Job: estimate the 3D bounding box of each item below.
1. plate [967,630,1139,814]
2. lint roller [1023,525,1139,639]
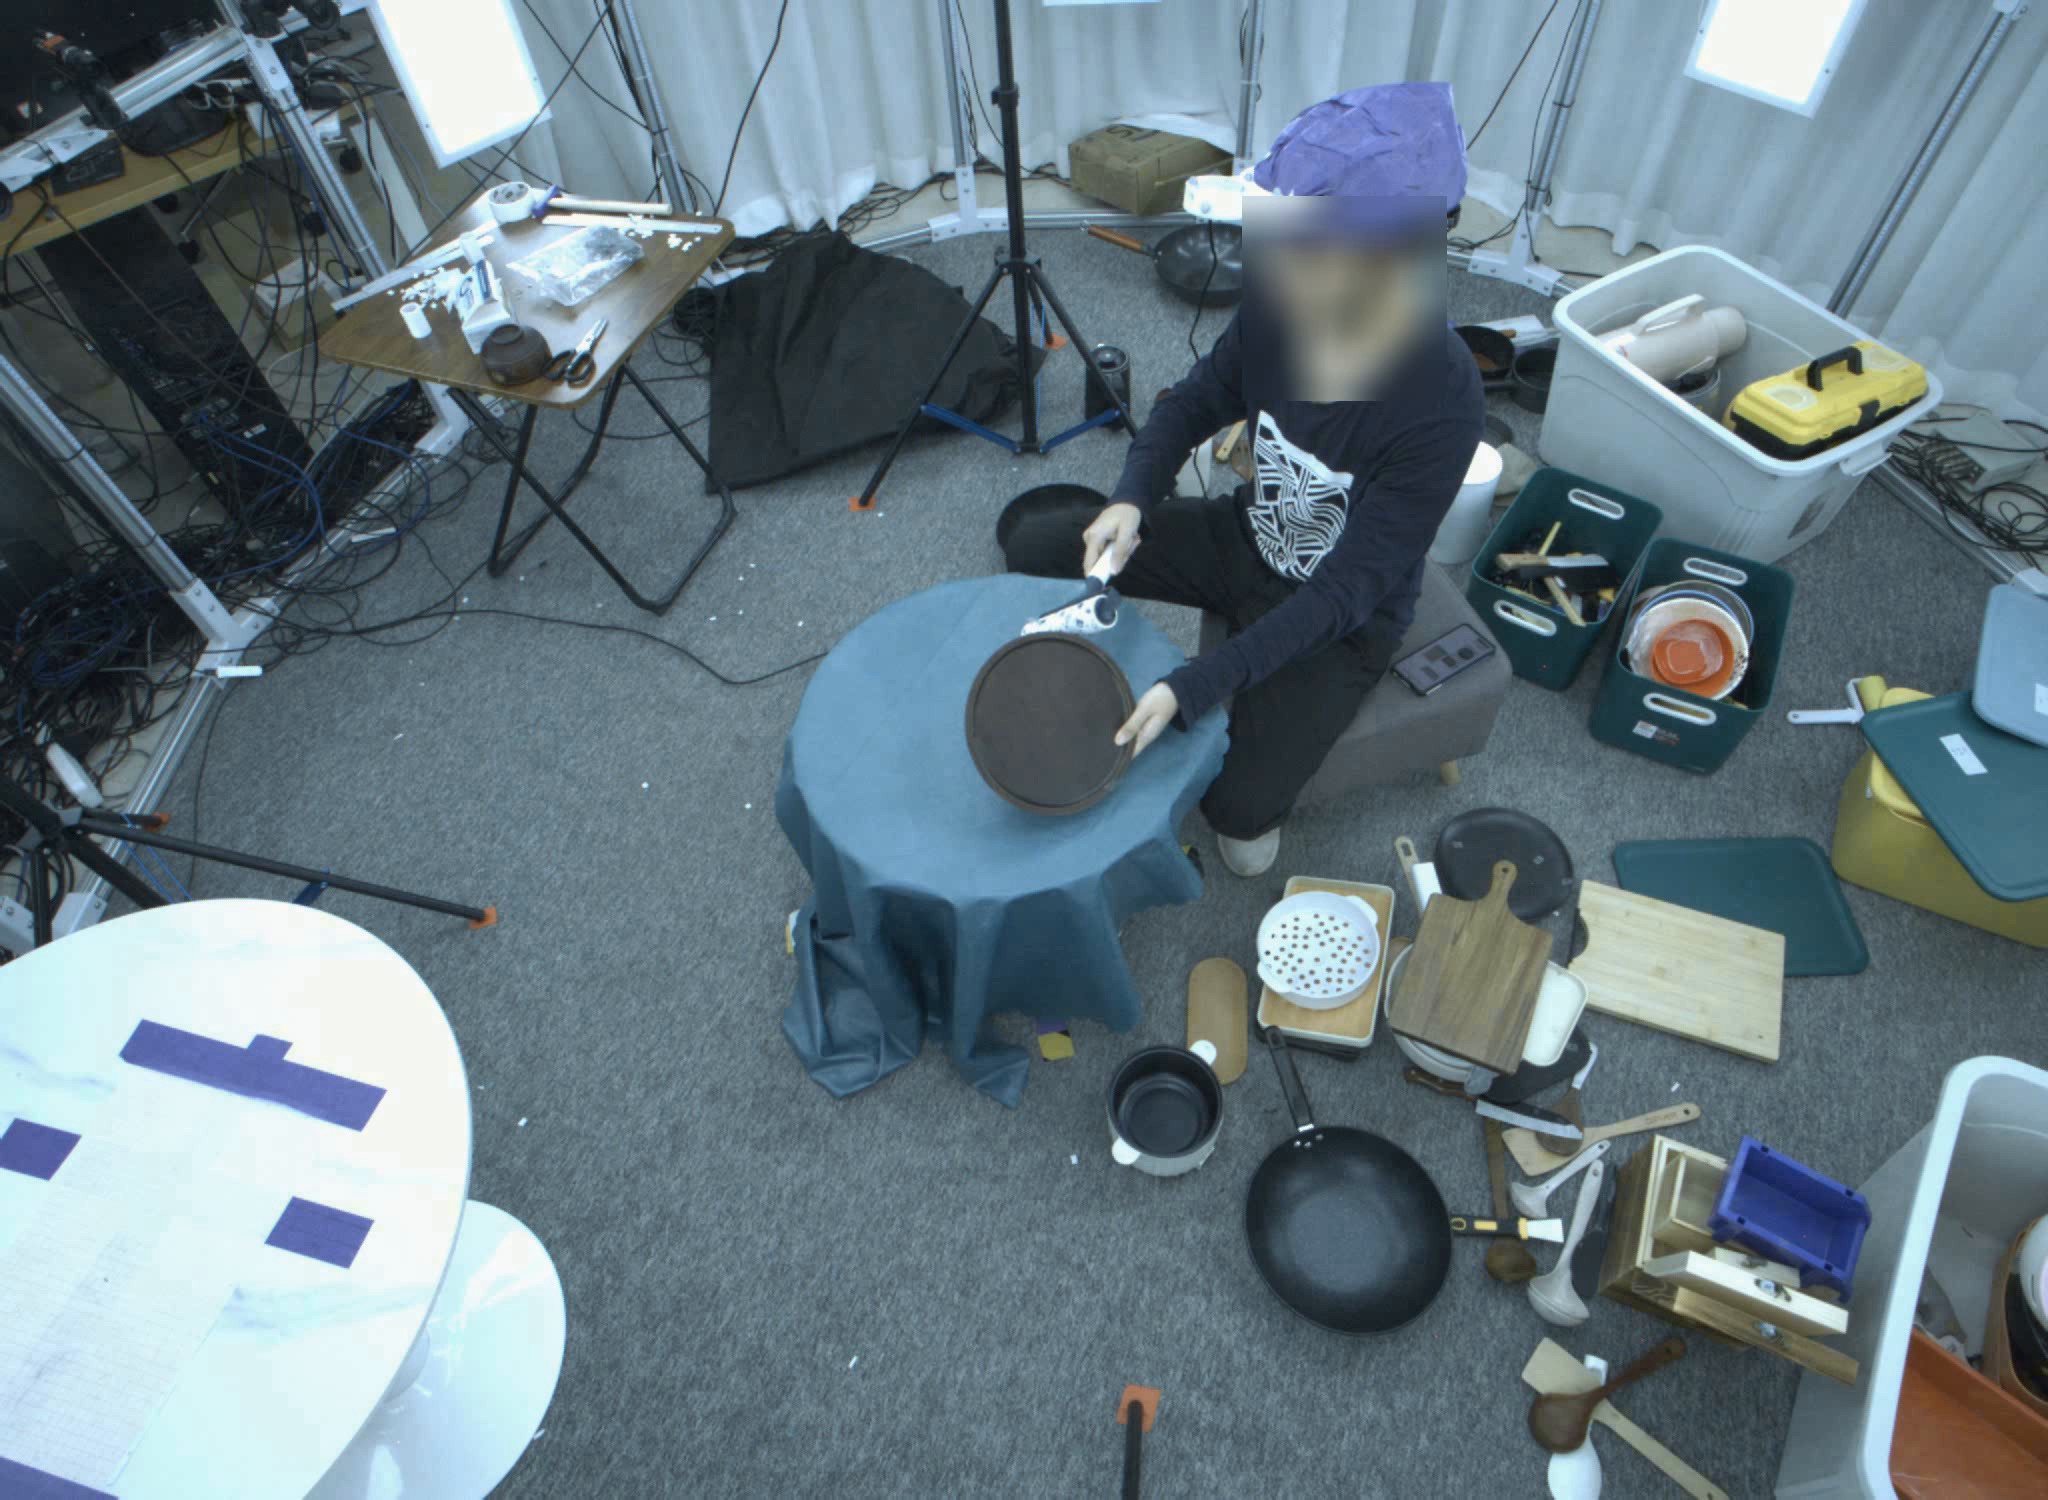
[{"bbox_3d":[0.040,-0.038,1.695,0.259,0.028,0.254,0,90,-24],"label":"plate"},{"bbox_3d":[0.105,-0.252,1.803,0.051,0.173,0.247,44,55,-22],"label":"lint roller"}]
